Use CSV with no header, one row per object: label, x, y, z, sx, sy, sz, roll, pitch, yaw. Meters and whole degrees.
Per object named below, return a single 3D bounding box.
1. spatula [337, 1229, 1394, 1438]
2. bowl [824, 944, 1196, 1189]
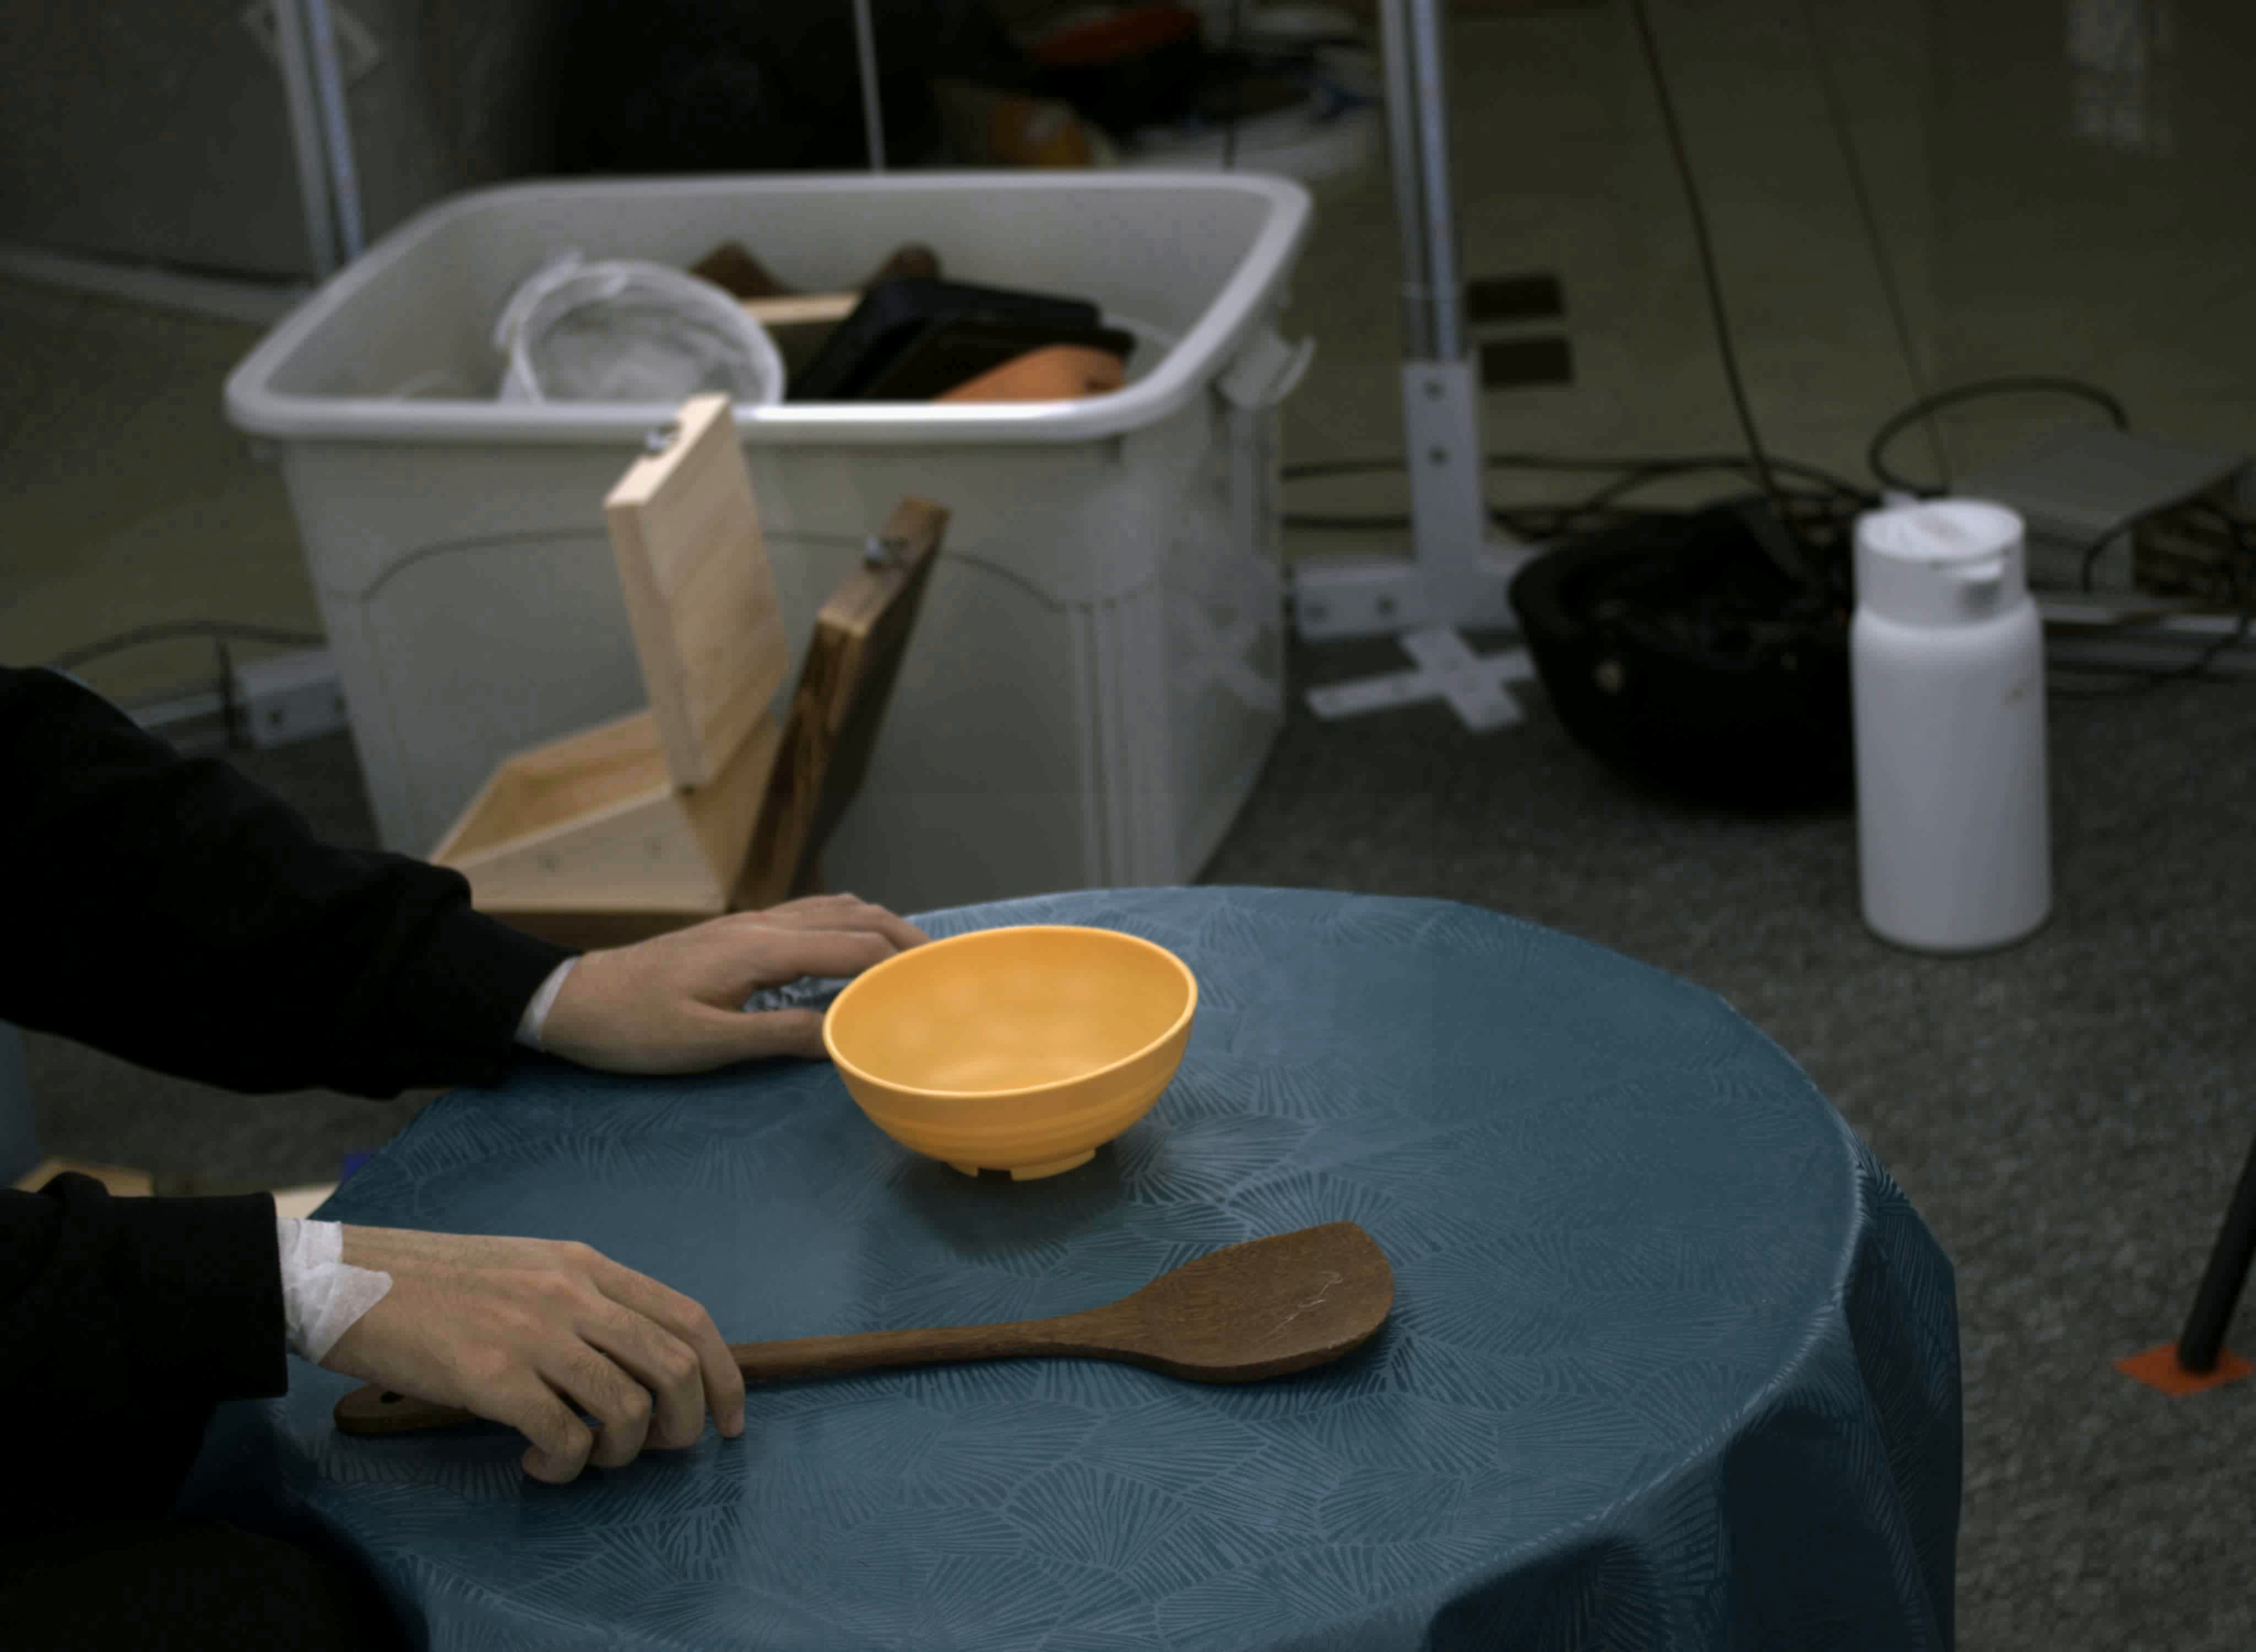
spatula,-0.096,0.190,2.050,0.385,0.016,0.095,-6,24,1
bowl,-0.042,0.099,2.184,0.145,0.061,0.143,-6,22,3
